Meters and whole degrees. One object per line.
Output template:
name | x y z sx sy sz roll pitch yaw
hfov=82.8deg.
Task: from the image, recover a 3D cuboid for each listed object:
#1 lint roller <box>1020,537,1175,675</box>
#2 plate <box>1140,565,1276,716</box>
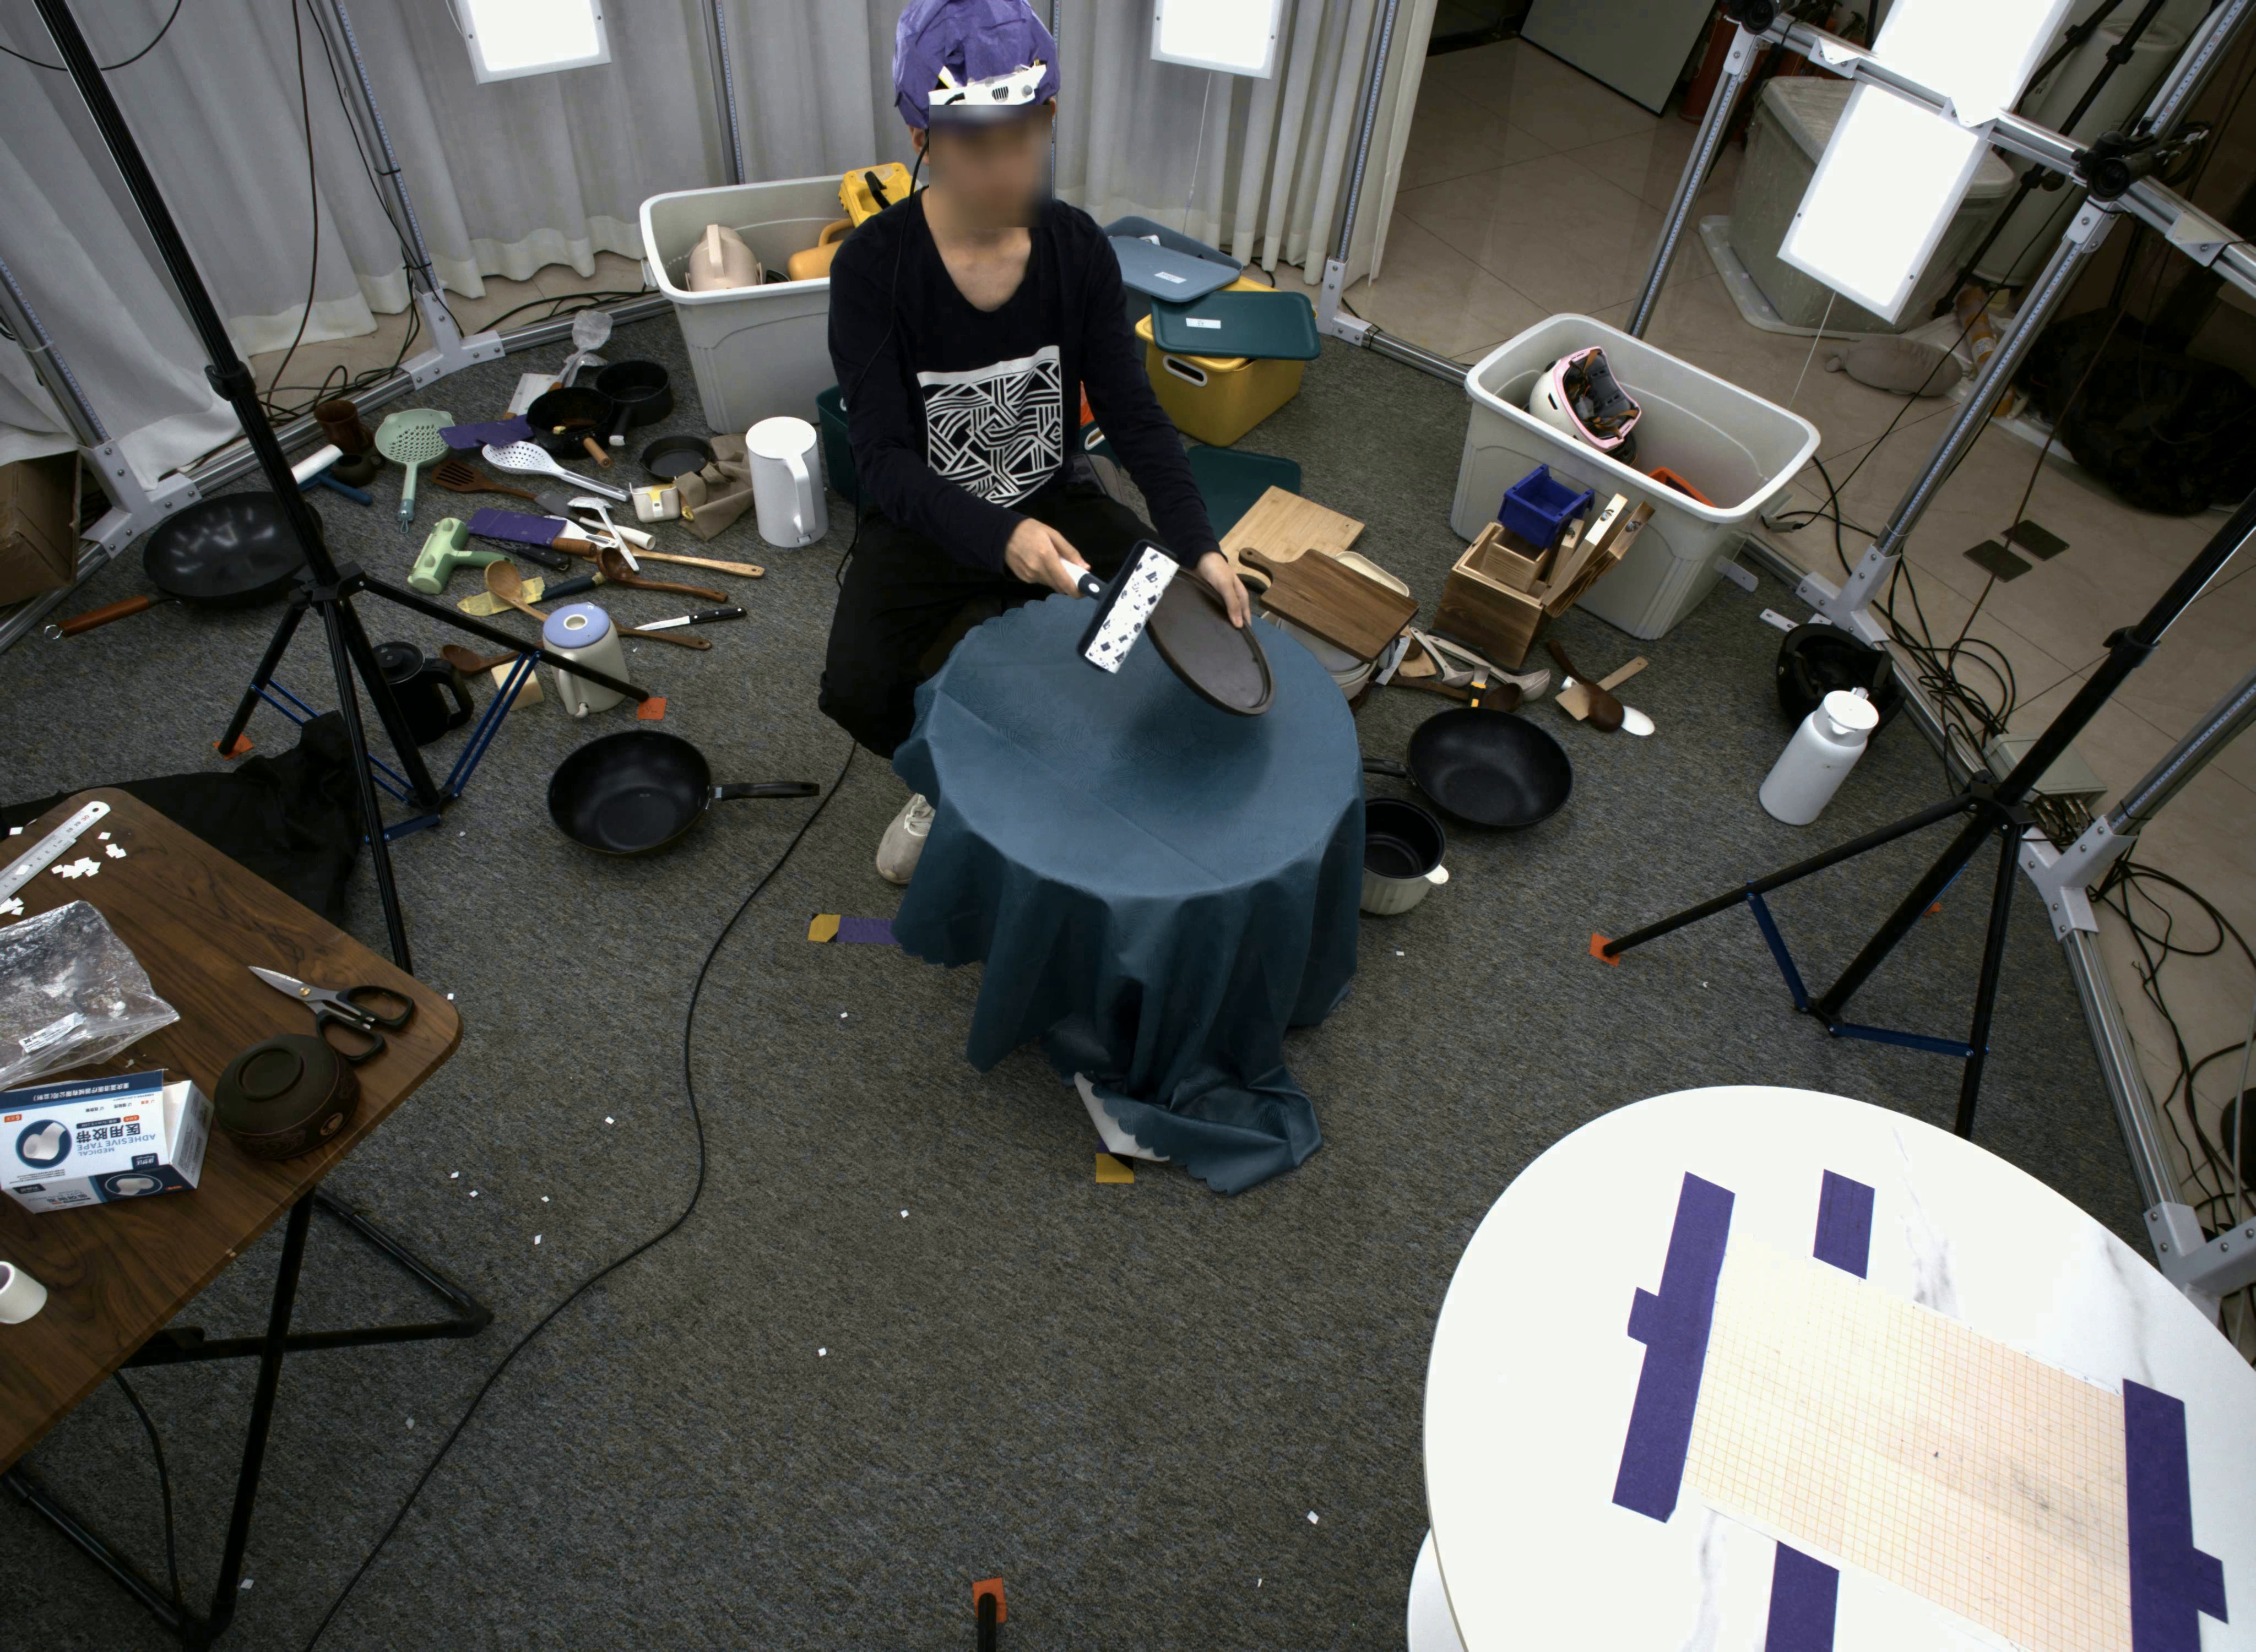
lint roller | -0.066 -0.322 1.679 0.251 0.050 0.175 35 99 35
plate | 0.103 -0.251 1.730 0.251 0.029 0.261 32 36 -27
